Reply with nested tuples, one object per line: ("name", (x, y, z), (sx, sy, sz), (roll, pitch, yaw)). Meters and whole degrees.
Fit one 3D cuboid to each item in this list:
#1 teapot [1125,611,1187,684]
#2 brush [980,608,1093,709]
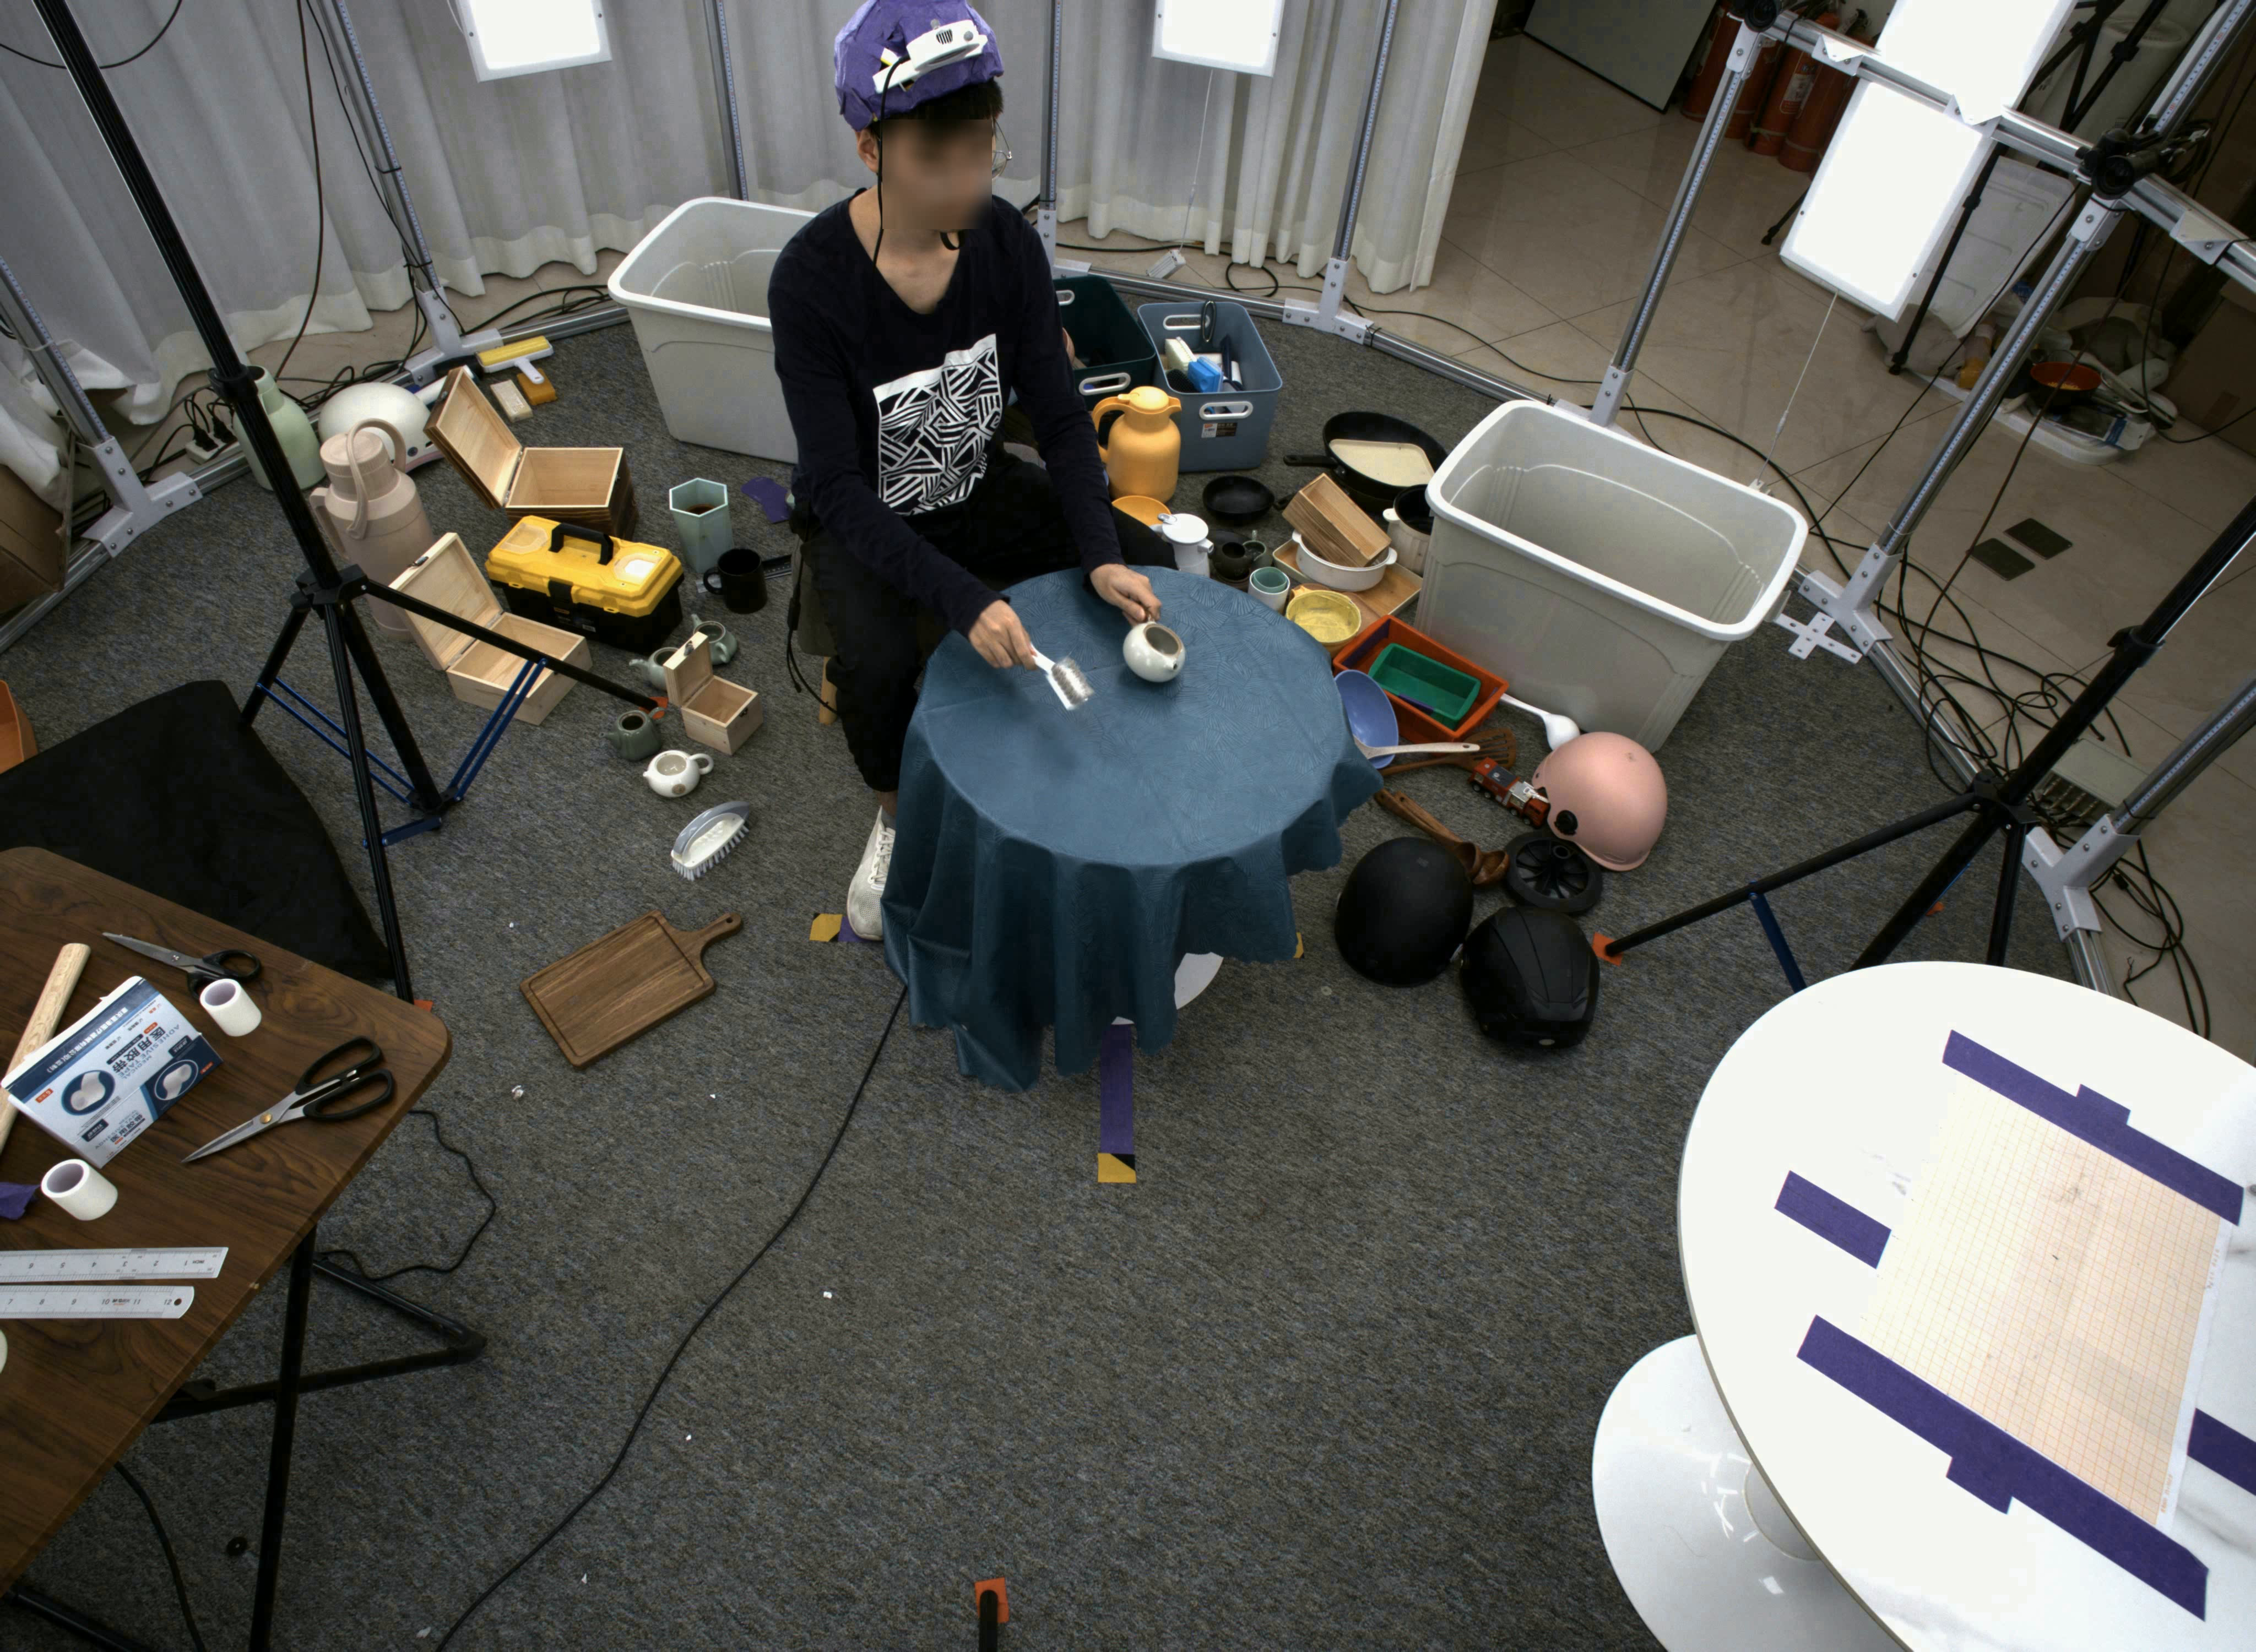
("teapot", (0.036, -0.254, 1.843), (0.091, 0.058, 0.131), (-4, 55, -33))
("brush", (-0.130, -0.246, 1.768), (0.034, 0.049, 0.248), (-21, 52, -32))
